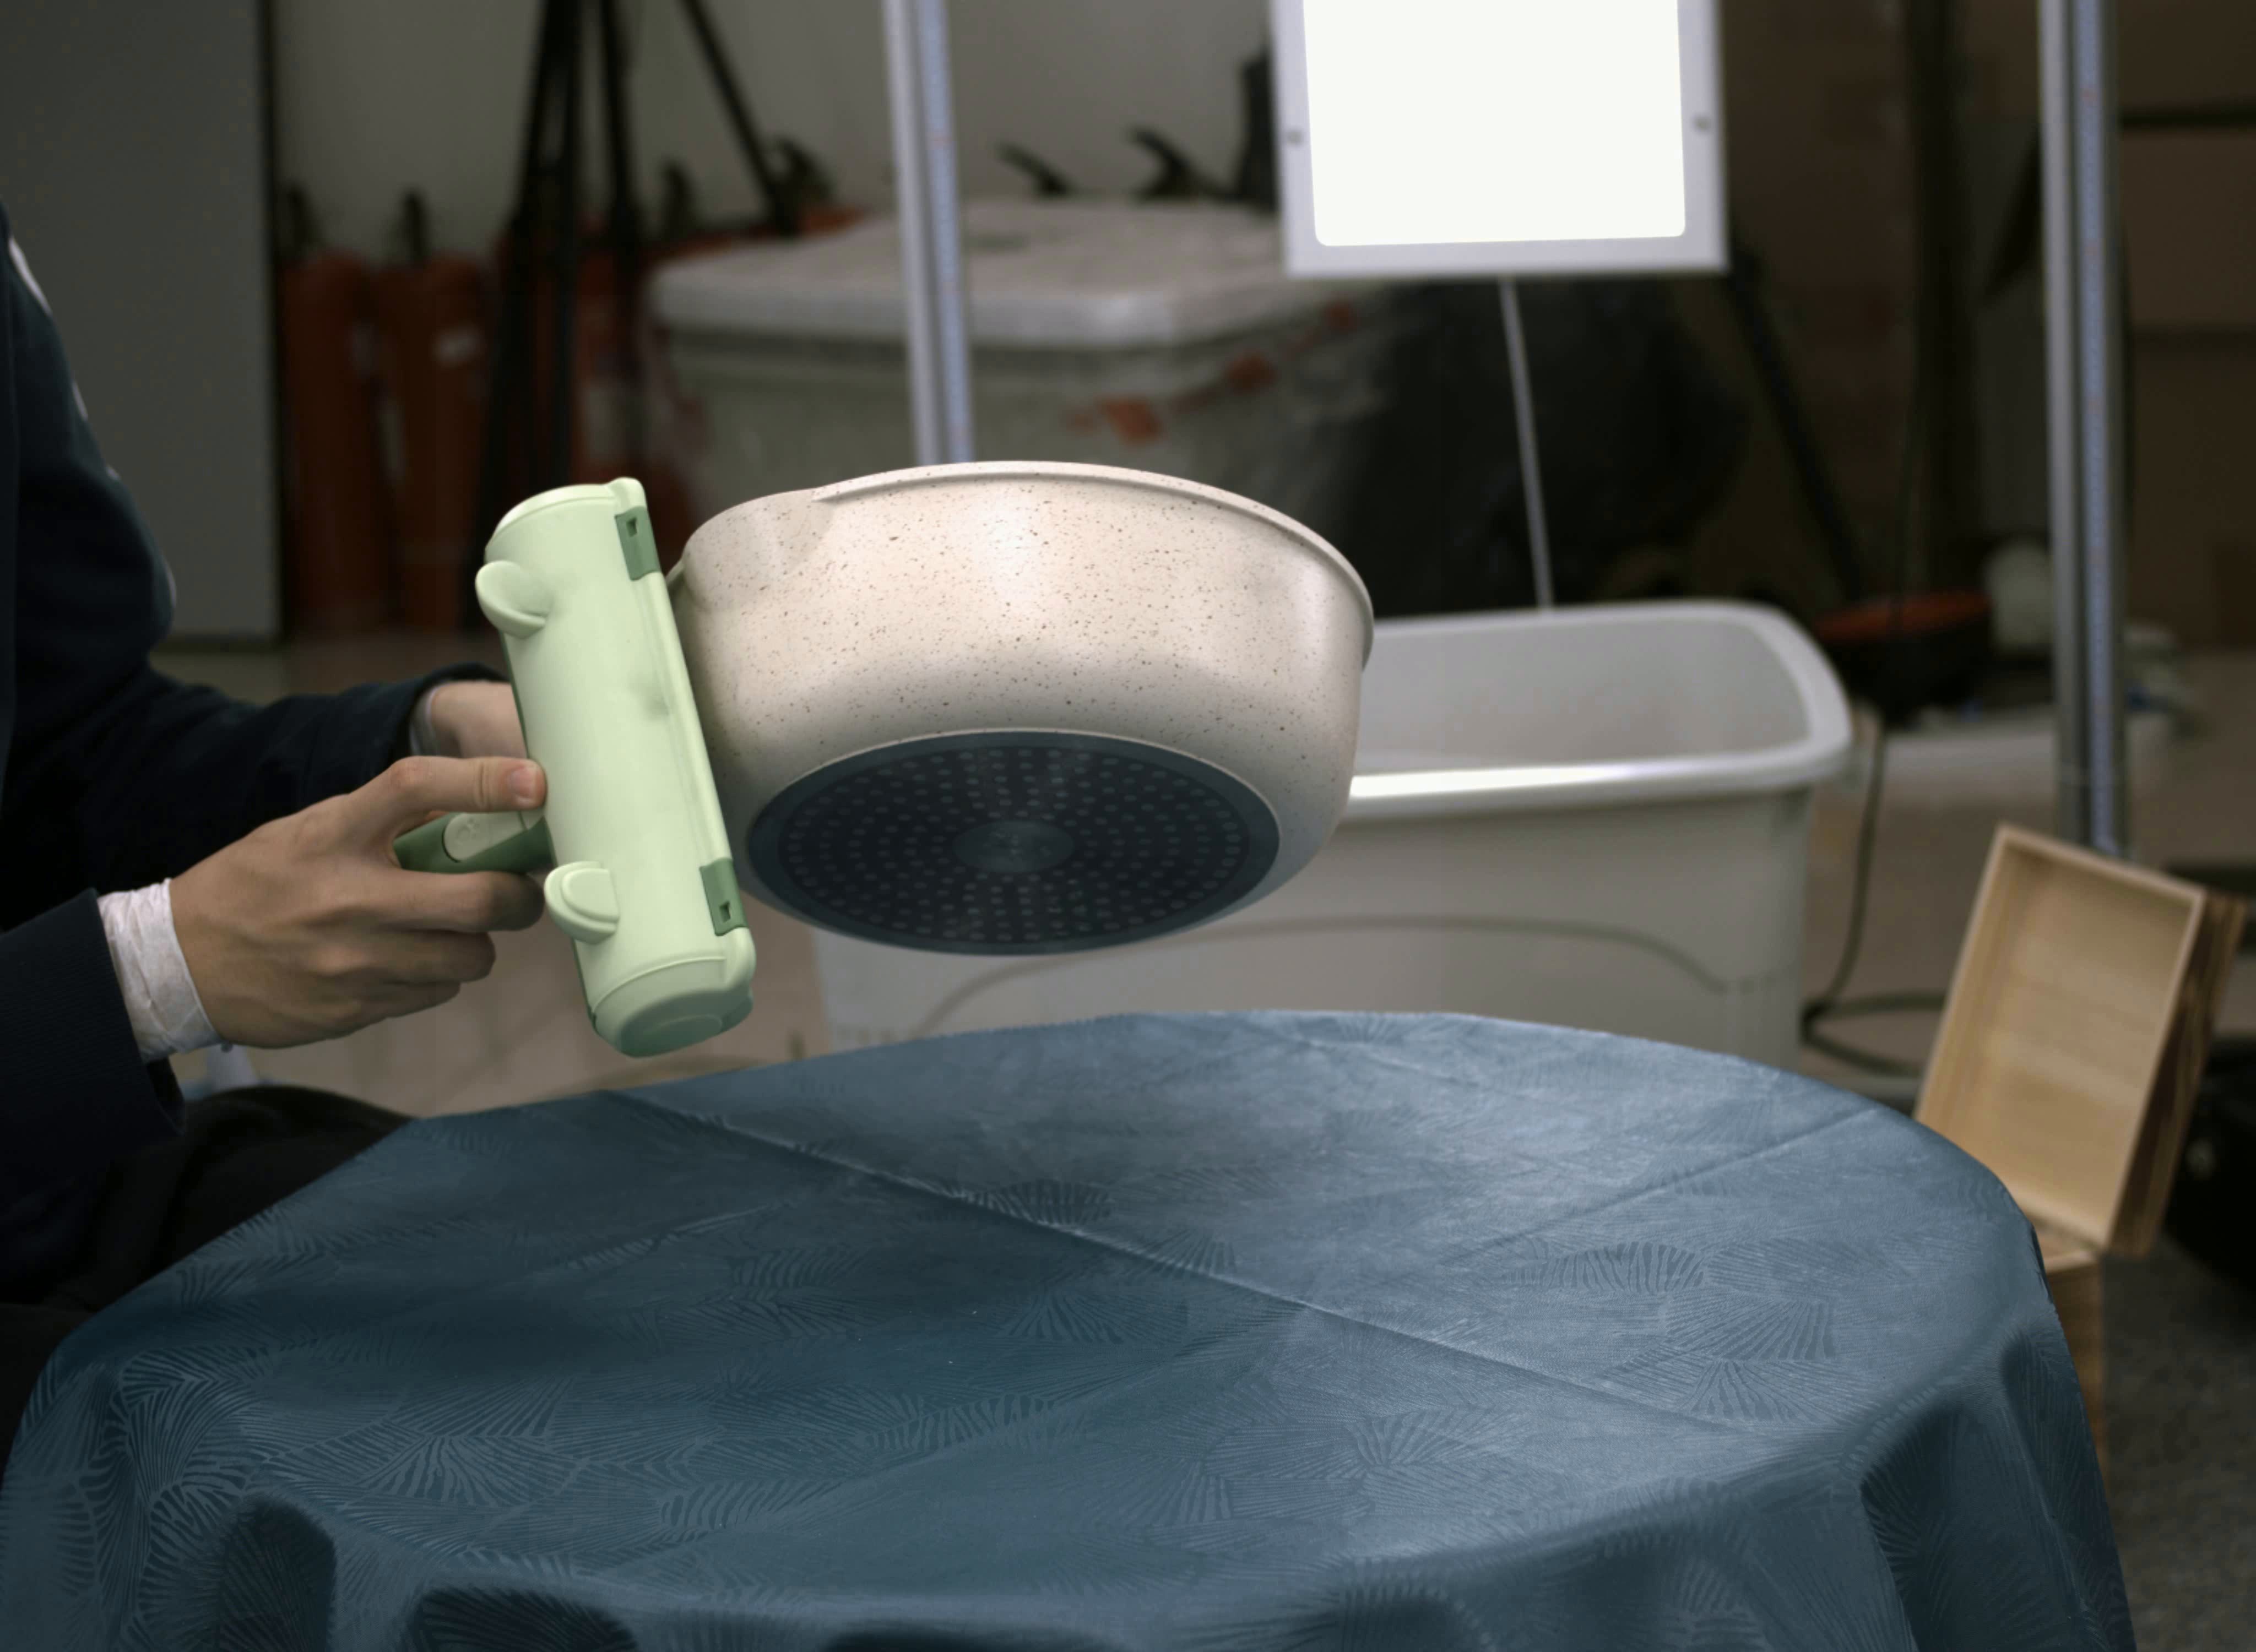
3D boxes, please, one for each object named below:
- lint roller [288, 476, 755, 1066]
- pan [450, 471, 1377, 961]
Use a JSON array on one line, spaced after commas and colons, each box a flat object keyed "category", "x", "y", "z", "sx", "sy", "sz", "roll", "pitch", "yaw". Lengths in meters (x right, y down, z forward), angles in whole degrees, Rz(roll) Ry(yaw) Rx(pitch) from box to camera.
[{"category": "lint roller", "x": -0.219, "y": 0.001, "z": 1.829, "sx": 0.186, "sy": 0.199, "sz": 0.081, "roll": -25, "pitch": -27, "yaw": 19}, {"category": "pan", "x": -0.102, "y": -0.006, "z": 1.945, "sx": 0.257, "sy": 0.102, "sz": 0.445, "roll": 19, "pitch": -31, "yaw": -40}]
